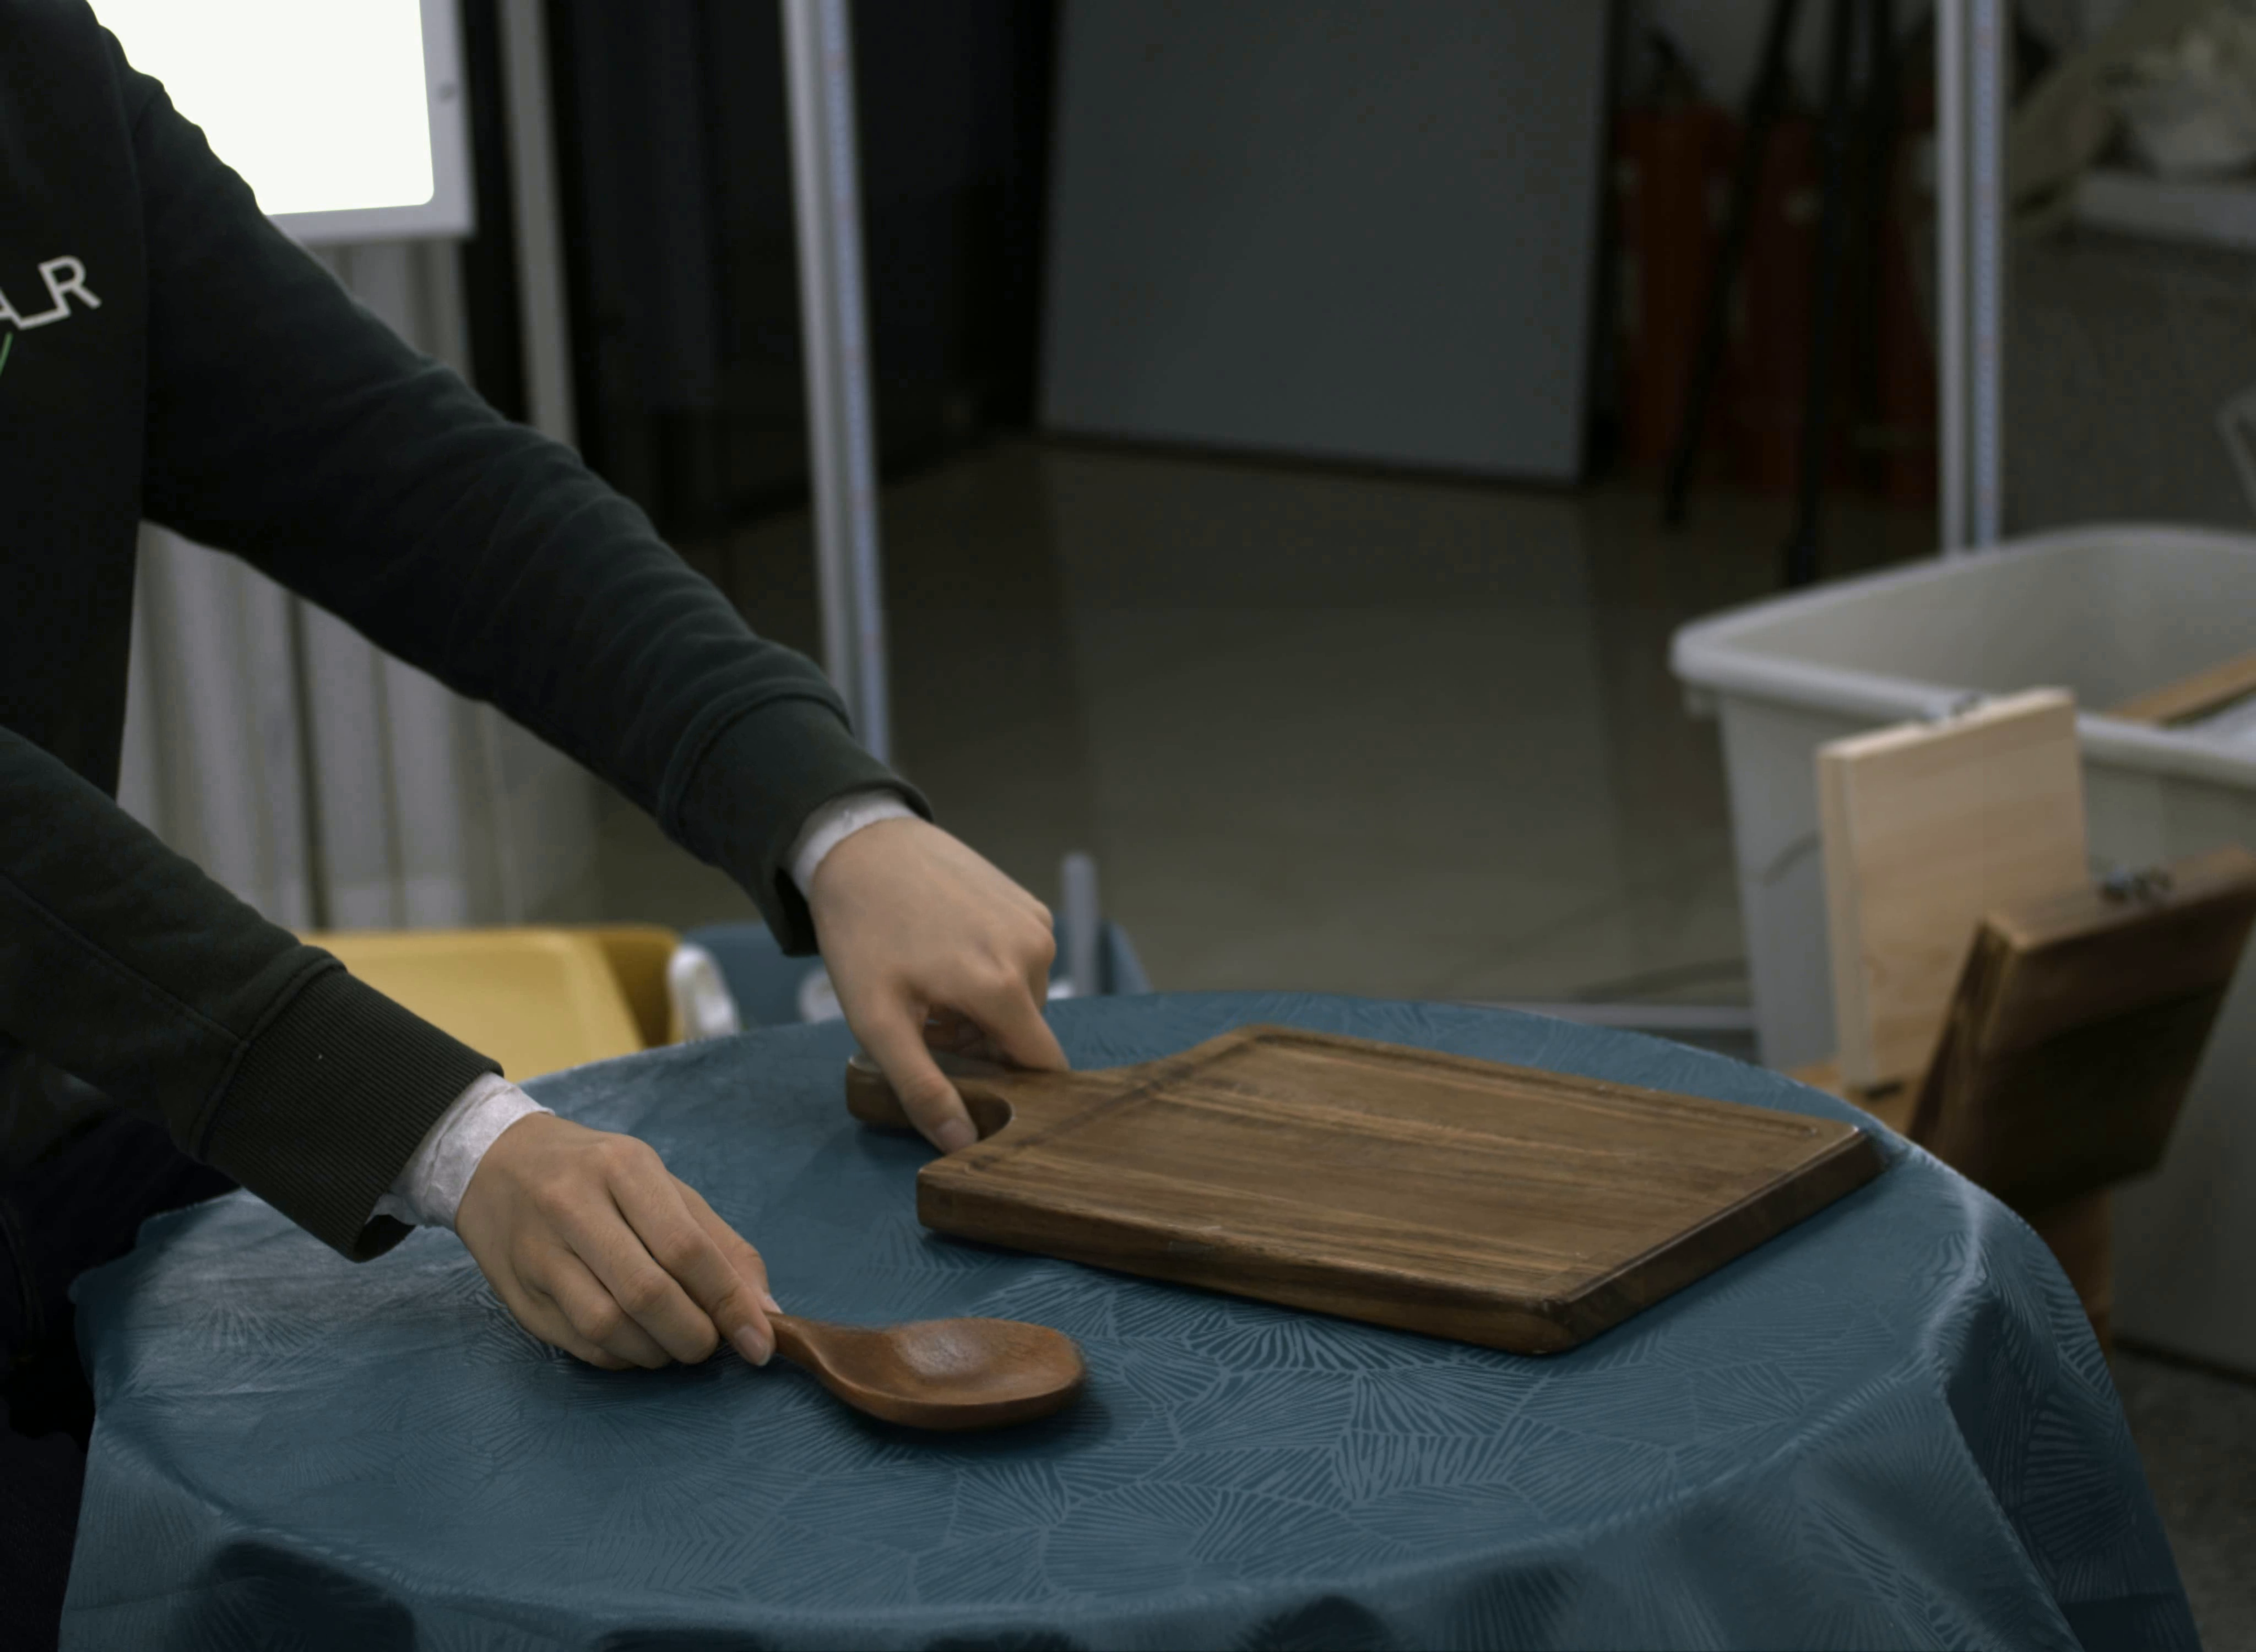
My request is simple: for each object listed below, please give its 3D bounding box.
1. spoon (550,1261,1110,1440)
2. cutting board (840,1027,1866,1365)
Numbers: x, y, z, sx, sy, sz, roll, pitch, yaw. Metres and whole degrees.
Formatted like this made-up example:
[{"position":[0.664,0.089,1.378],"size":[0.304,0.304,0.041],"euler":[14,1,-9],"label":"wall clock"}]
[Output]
[{"position":[-0.094,0.156,1.621],"size":[0.217,0.017,0.074],"euler":[9,21,41],"label":"spoon"},{"position":[0.046,0.109,1.761],"size":[0.354,0.023,0.197],"euler":[7,19,37],"label":"cutting board"}]
